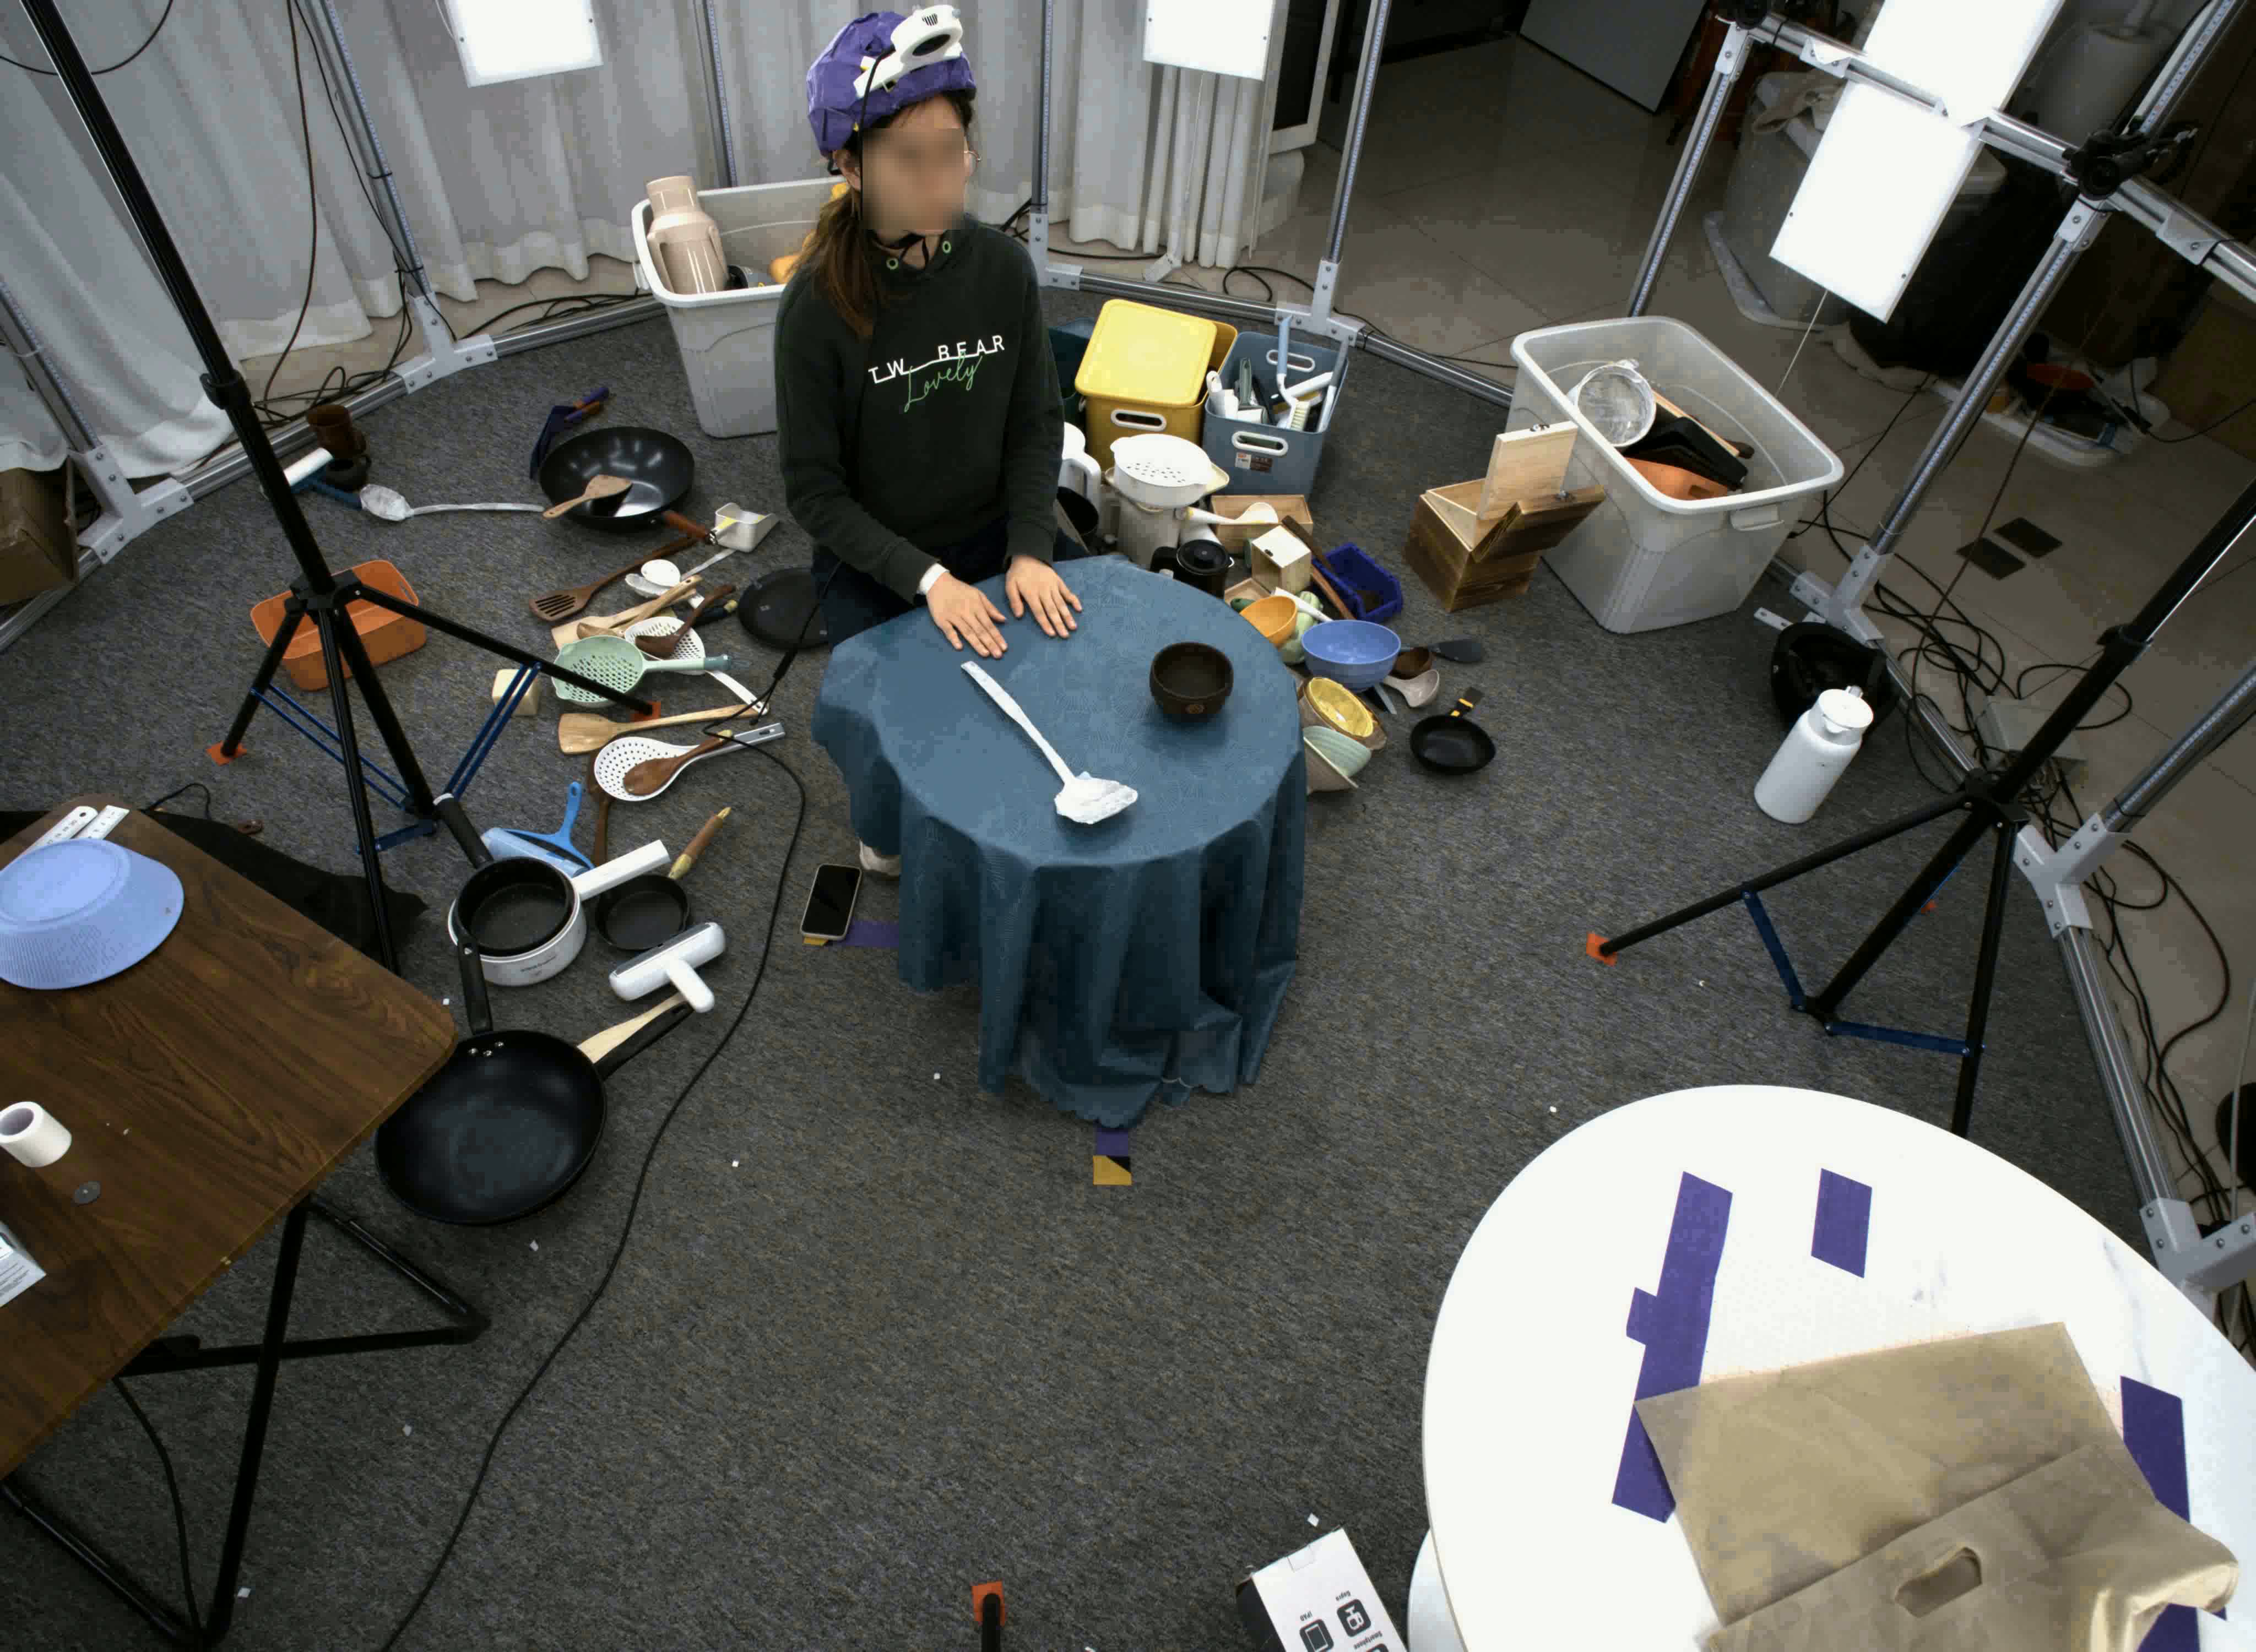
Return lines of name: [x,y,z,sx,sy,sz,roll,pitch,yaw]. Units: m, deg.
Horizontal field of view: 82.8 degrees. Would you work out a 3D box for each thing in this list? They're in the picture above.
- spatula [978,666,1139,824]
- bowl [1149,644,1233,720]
spatula: [-0.118,-0.123,1.758,0.099,0.043,0.372,-26,55,-22]
bowl: [0.088,-0.195,1.814,0.118,0.068,0.121,1,47,-2]
